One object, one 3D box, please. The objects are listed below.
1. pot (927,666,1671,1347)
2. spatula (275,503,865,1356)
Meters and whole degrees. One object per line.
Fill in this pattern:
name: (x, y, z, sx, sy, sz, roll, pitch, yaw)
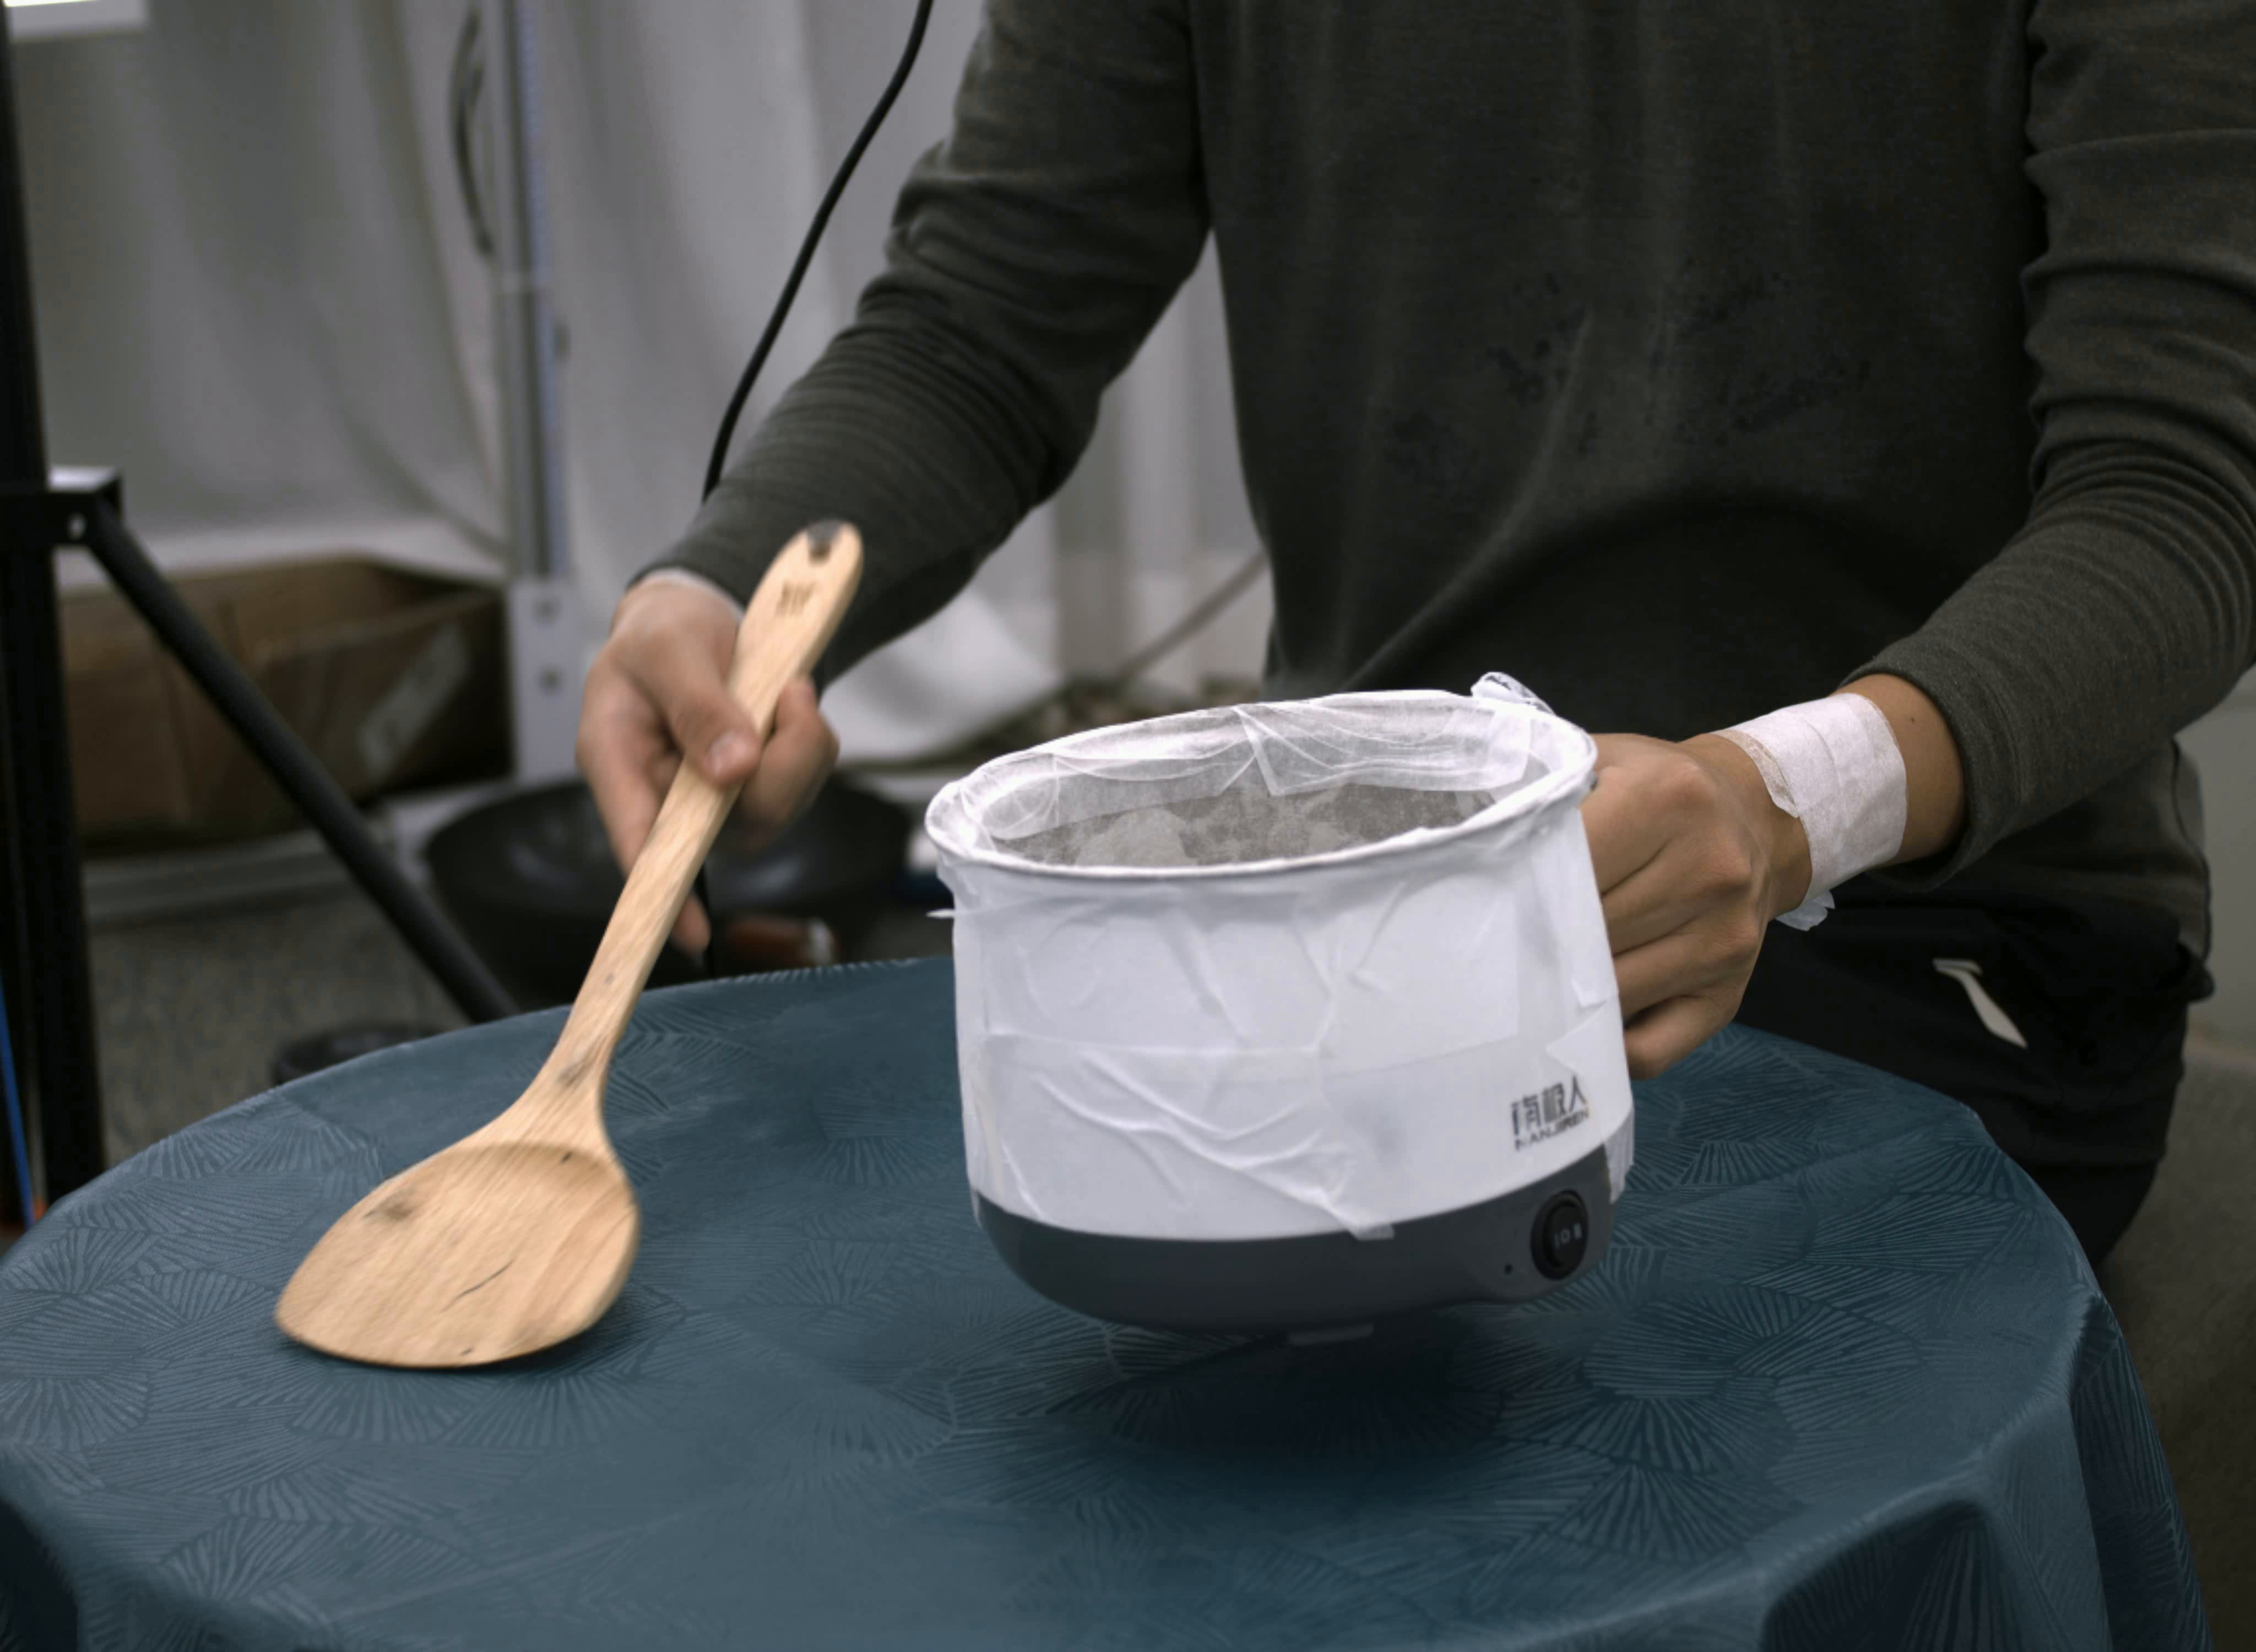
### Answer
pot: (0.060, 0.041, 1.409, 0.182, 0.136, 0.228, 6, 19, 42)
spatula: (-0.147, 0.021, 1.598, 0.096, 0.018, 0.391, 2, 42, 17)
